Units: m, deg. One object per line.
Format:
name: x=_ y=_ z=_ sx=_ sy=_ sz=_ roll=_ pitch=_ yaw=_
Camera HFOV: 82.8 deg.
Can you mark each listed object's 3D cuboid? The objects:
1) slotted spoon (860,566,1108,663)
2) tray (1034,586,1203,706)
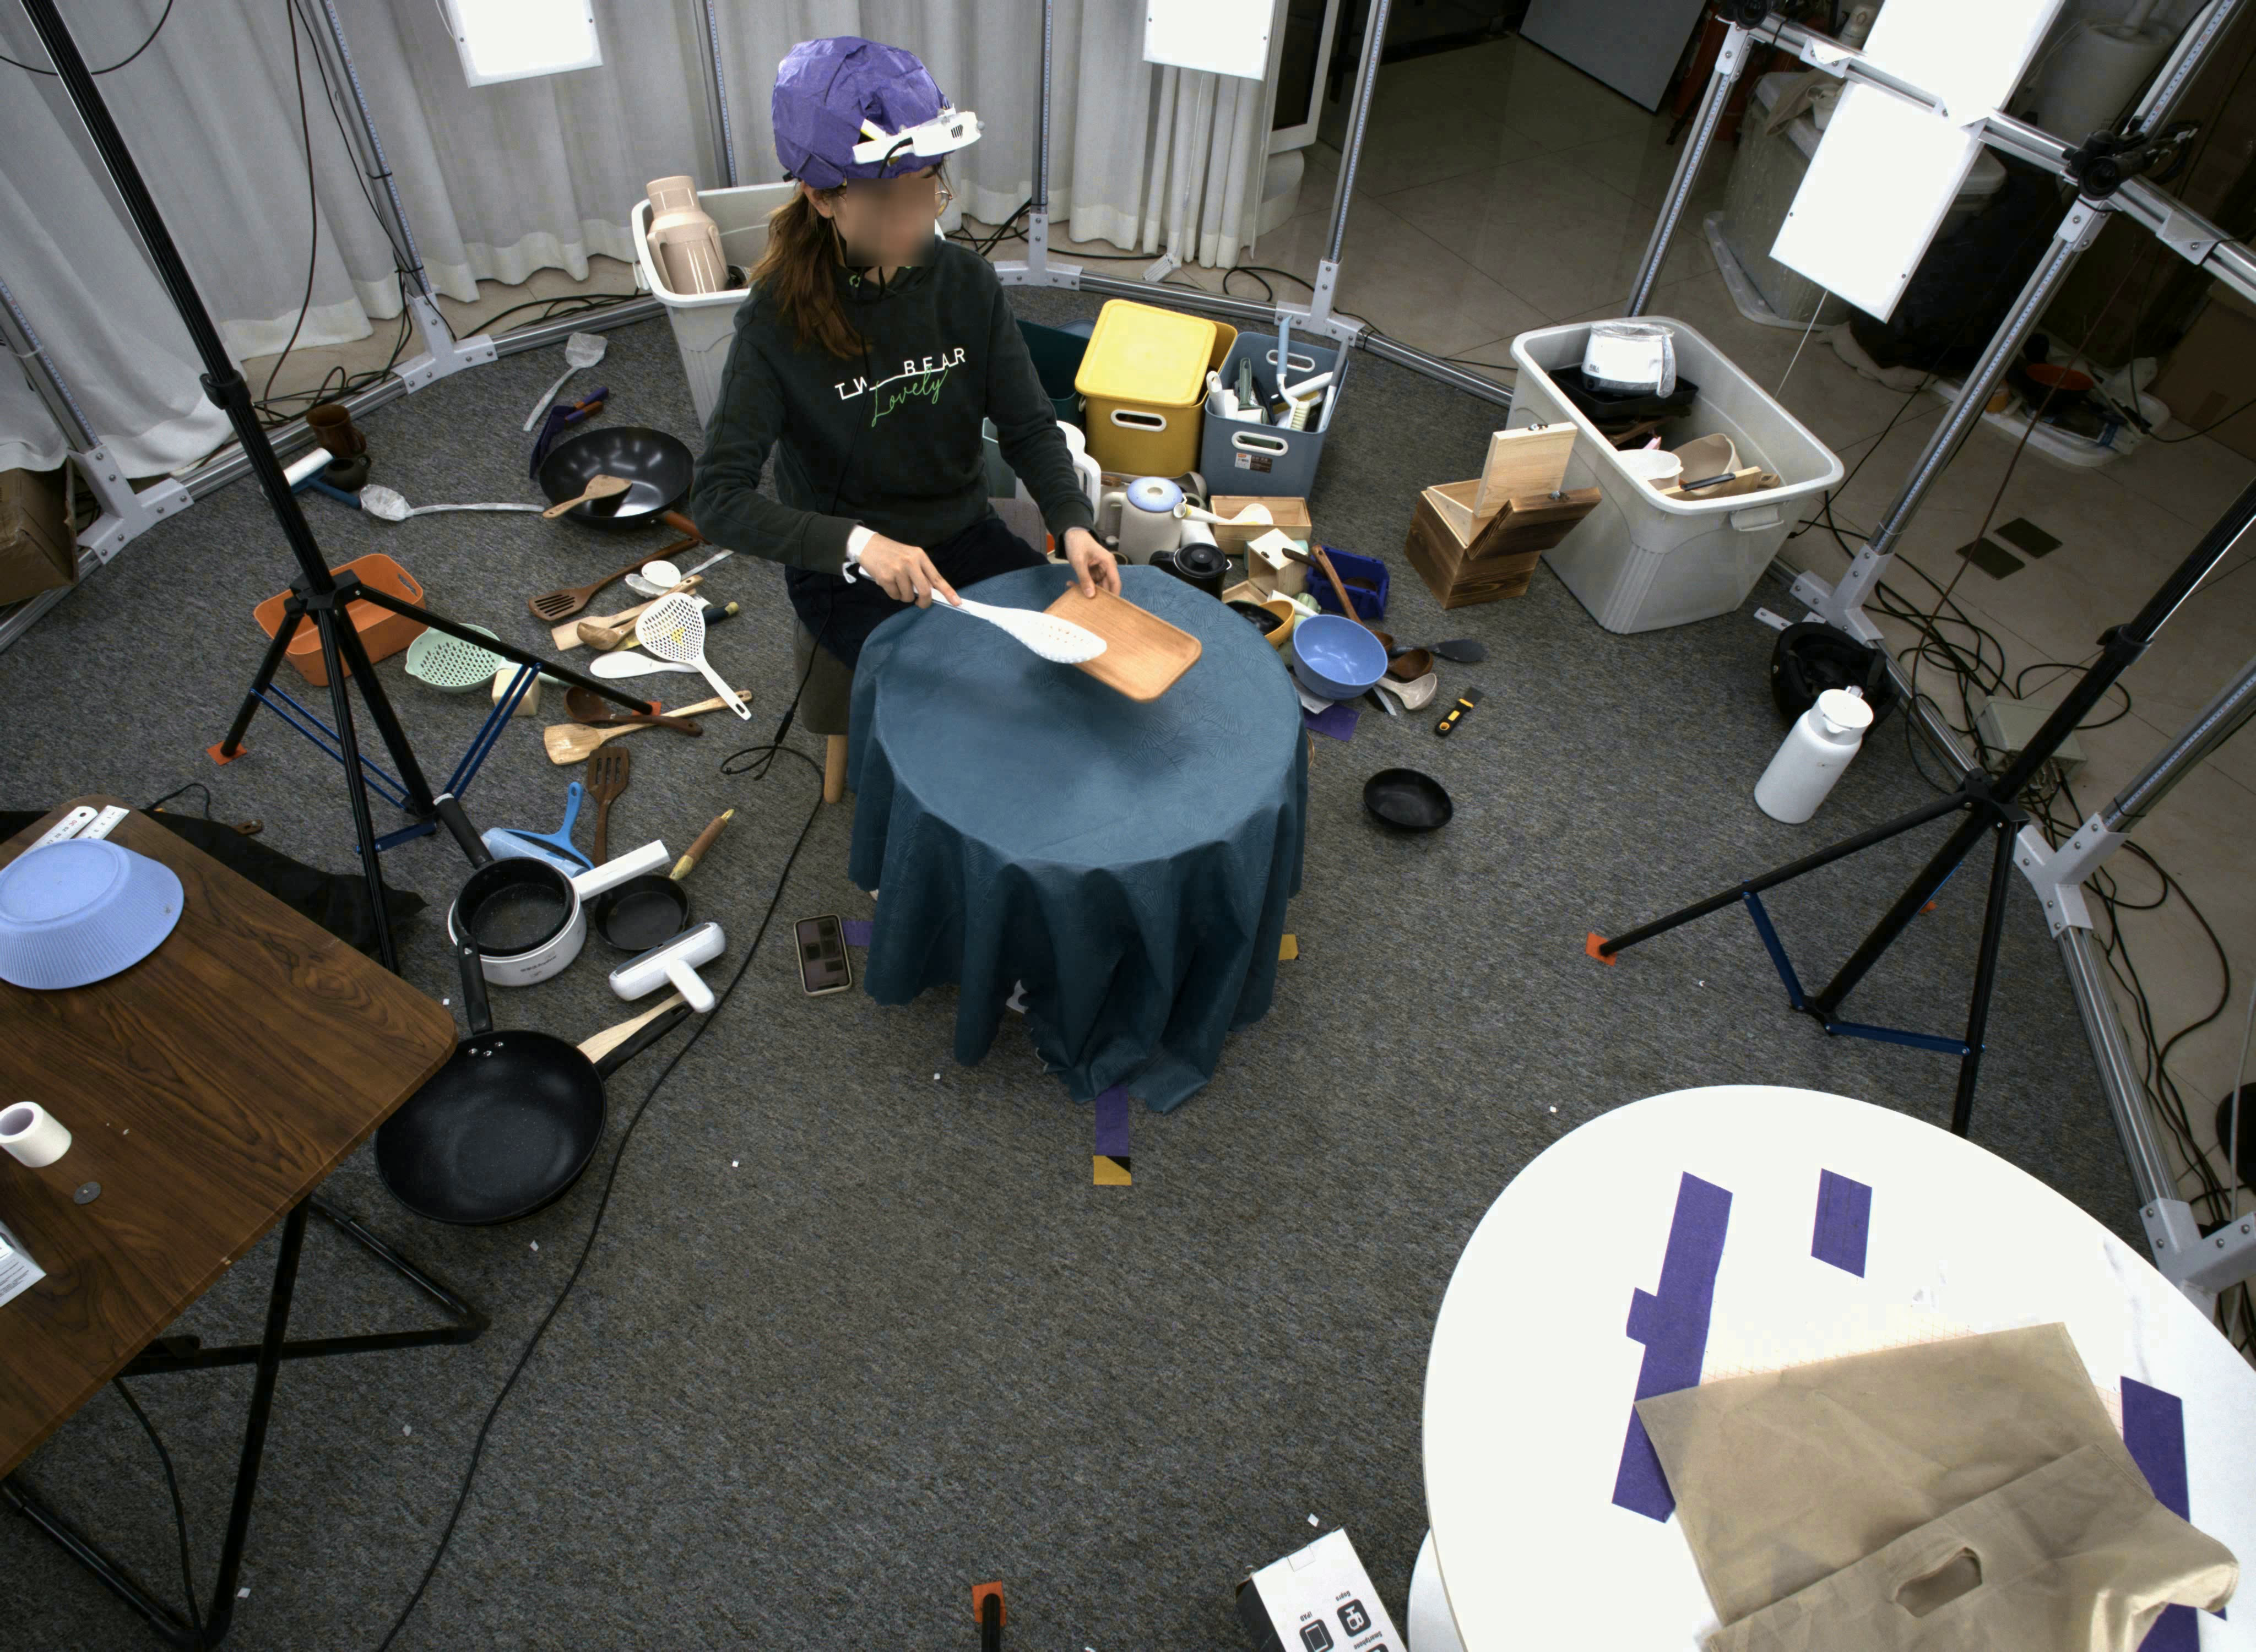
slotted spoon: x=-0.194 y=-0.288 z=1.726 sx=0.351 sy=0.135 sz=0.046 roll=23 pitch=84 yaw=7
tray: x=-0.017 y=-0.254 z=1.795 sx=0.131 sy=0.022 sz=0.255 roll=-42 pitch=53 yaw=-19
